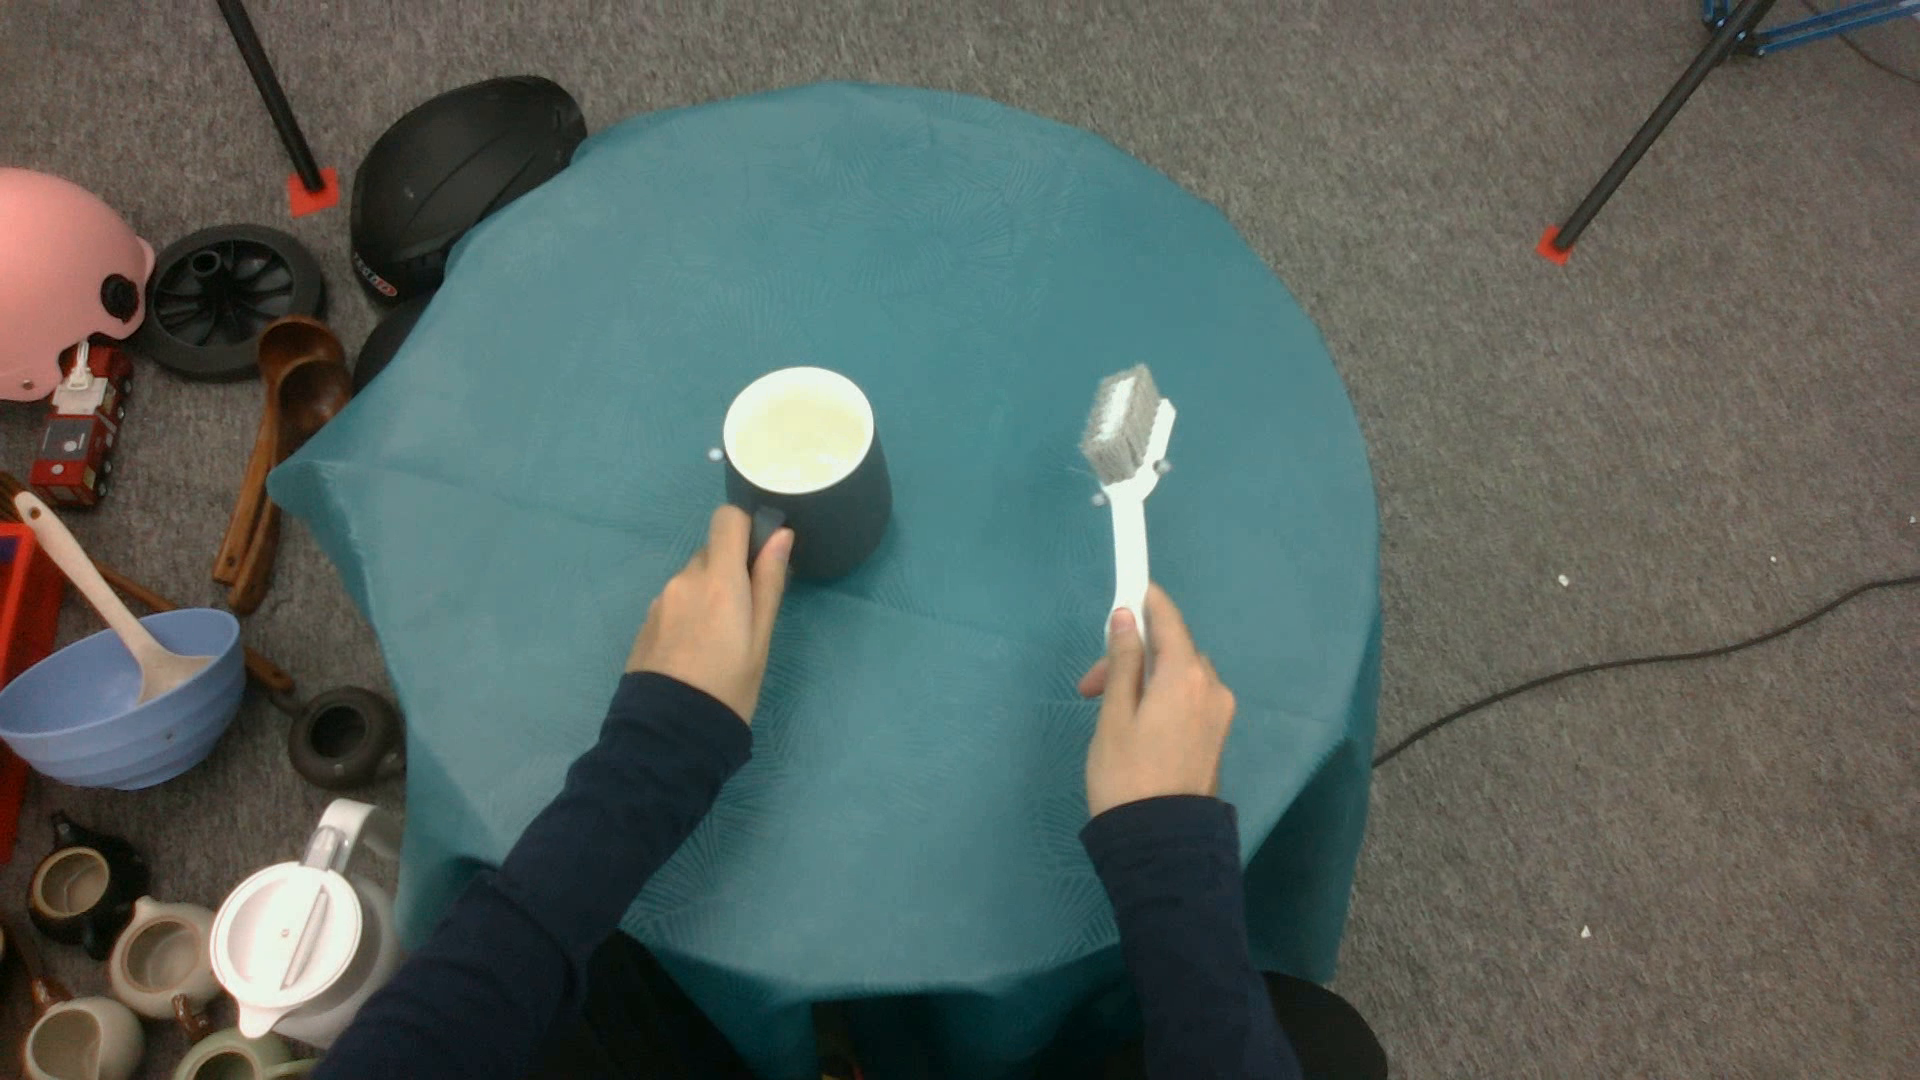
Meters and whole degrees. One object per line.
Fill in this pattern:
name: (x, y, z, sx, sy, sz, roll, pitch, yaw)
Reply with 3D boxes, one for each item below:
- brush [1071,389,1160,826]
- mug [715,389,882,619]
brush: (0.075, 0.027, 0.728, 0.034, 0.050, 0.244, -8, 58, 30)
mug: (-0.097, -0.014, 0.763, 0.093, 0.089, 0.124, 16, 58, 11)
